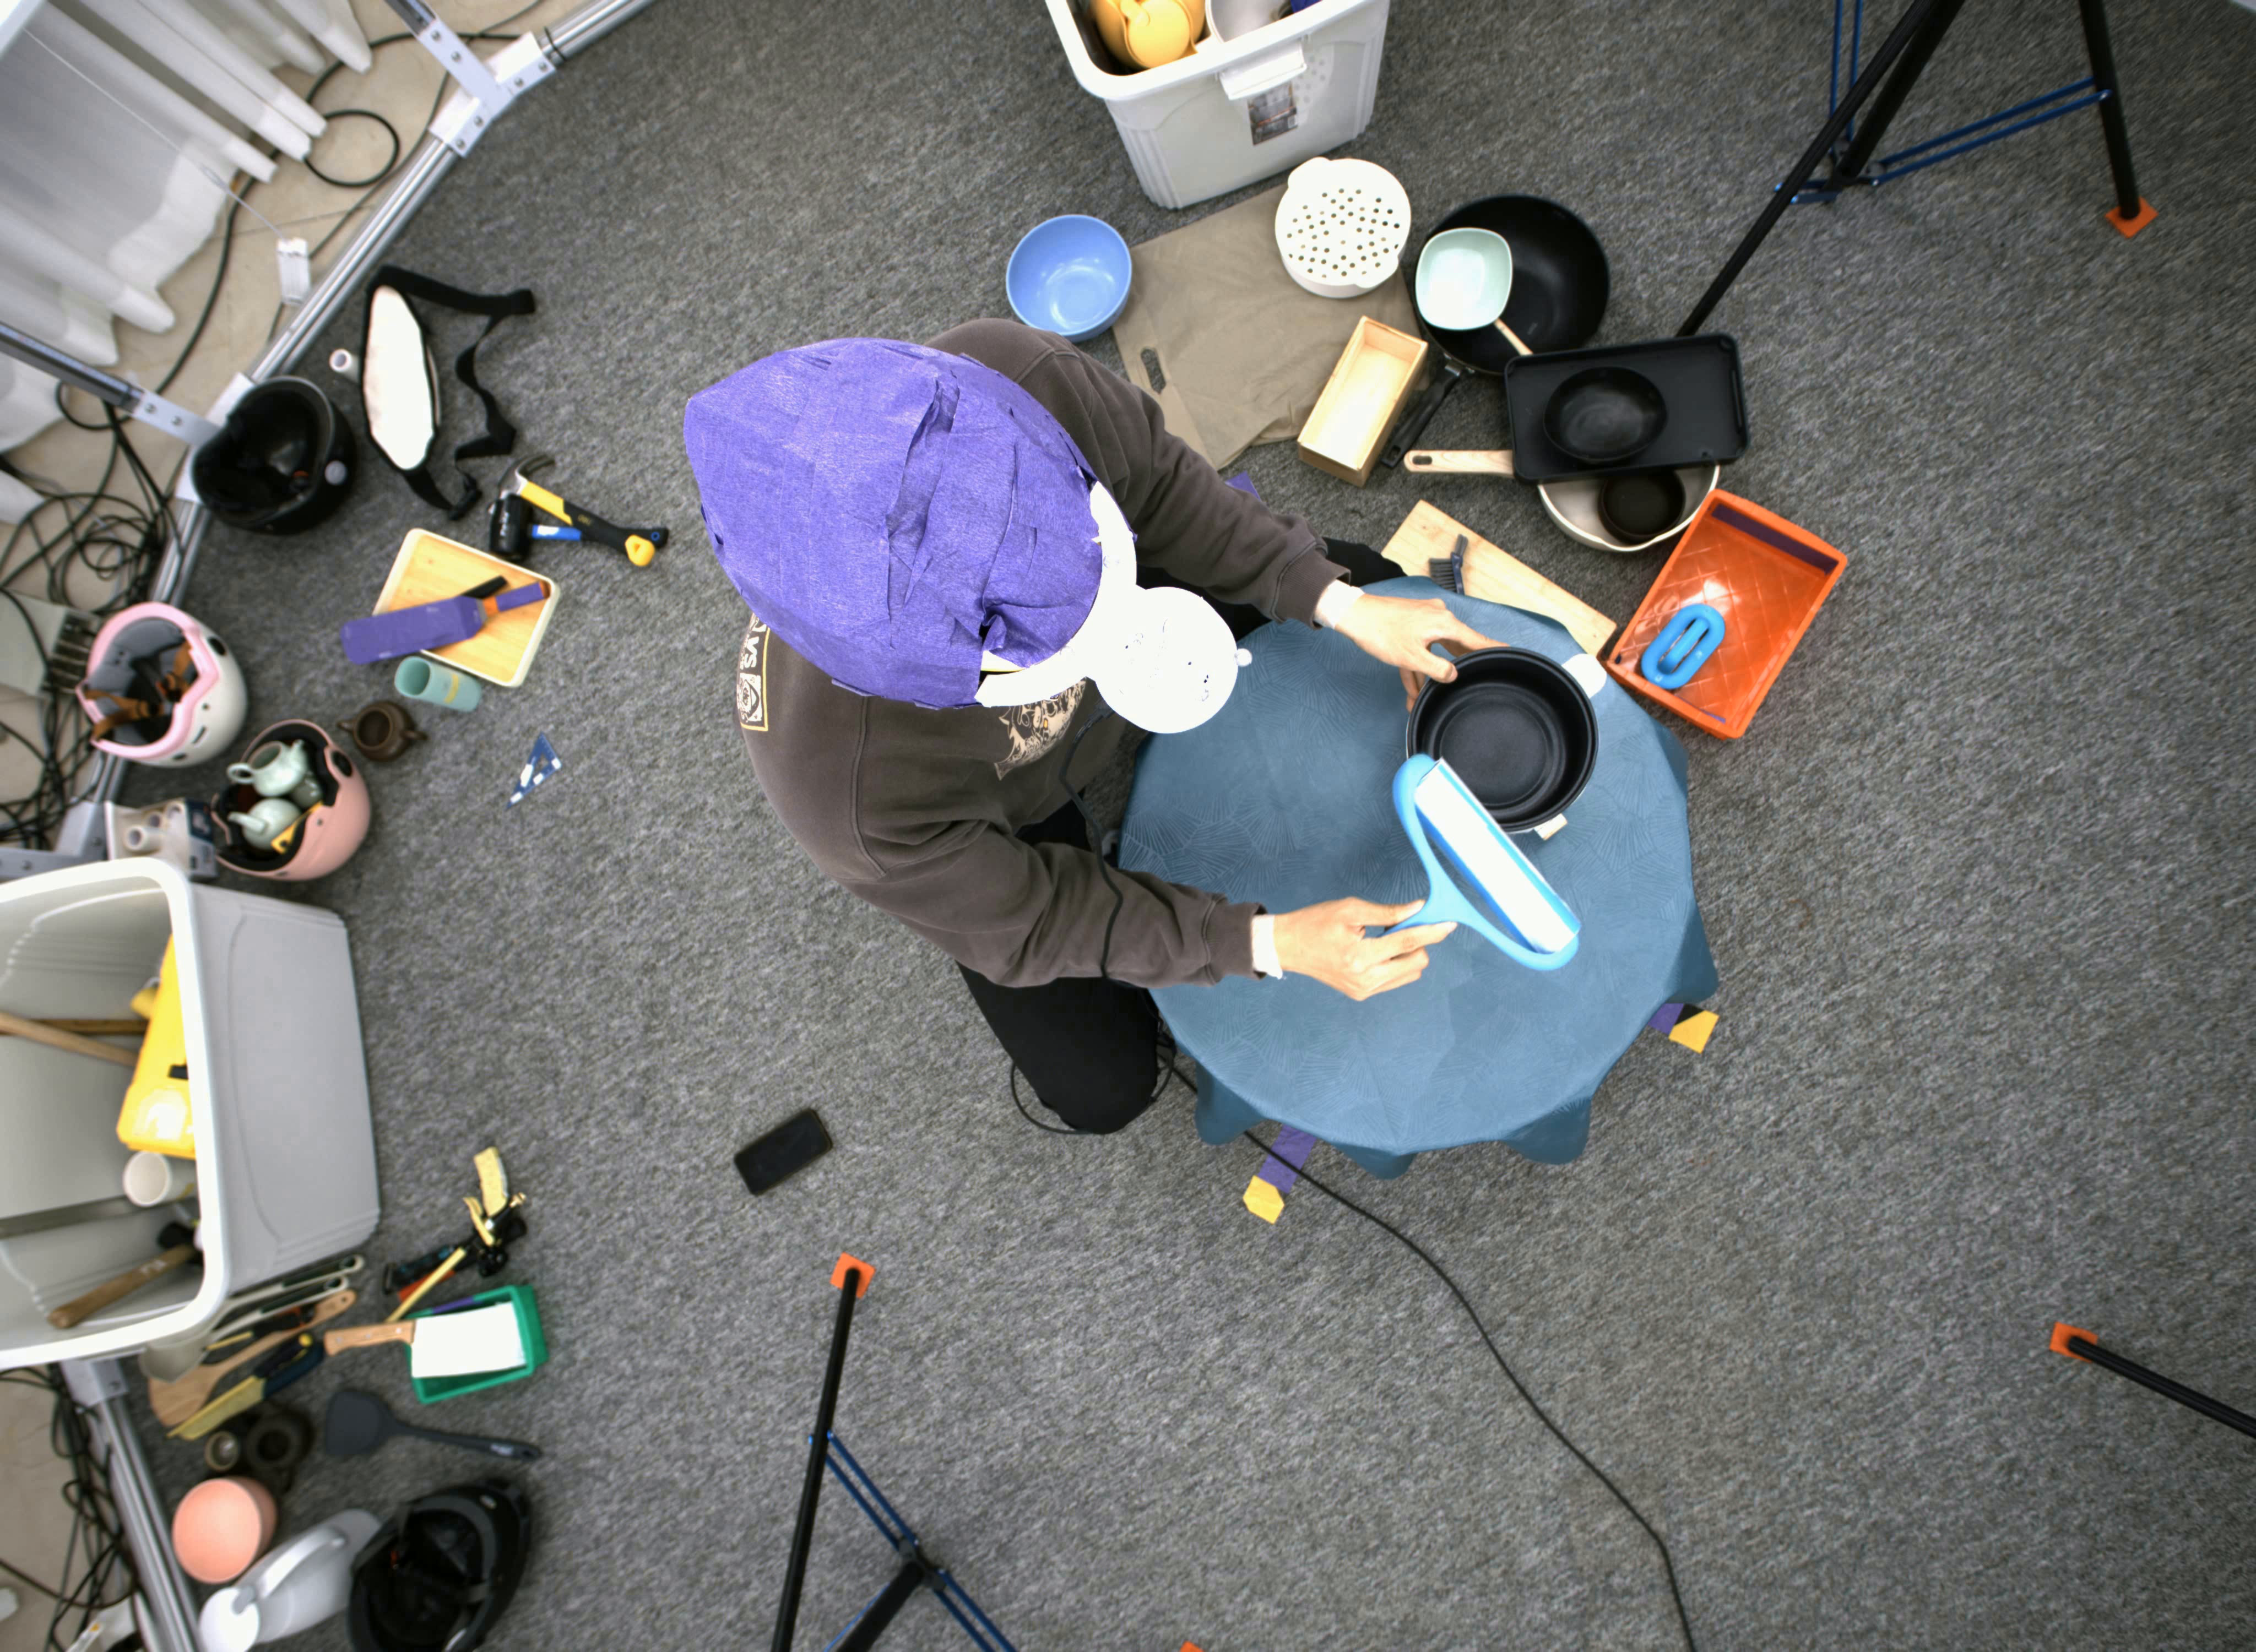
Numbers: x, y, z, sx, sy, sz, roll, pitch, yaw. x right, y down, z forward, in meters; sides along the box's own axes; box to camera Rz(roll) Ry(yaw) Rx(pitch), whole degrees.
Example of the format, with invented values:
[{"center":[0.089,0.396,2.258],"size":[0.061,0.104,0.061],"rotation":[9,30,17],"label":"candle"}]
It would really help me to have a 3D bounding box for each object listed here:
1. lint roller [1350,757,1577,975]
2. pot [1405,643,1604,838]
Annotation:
[{"center":[0.275,0.069,1.225],"size":[0.180,0.068,0.229],"rotation":[-43,93,-3],"label":"lint roller"},{"center":[0.373,-0.077,1.375],"size":[0.242,0.143,0.189],"rotation":[-40,78,7],"label":"pot"}]
